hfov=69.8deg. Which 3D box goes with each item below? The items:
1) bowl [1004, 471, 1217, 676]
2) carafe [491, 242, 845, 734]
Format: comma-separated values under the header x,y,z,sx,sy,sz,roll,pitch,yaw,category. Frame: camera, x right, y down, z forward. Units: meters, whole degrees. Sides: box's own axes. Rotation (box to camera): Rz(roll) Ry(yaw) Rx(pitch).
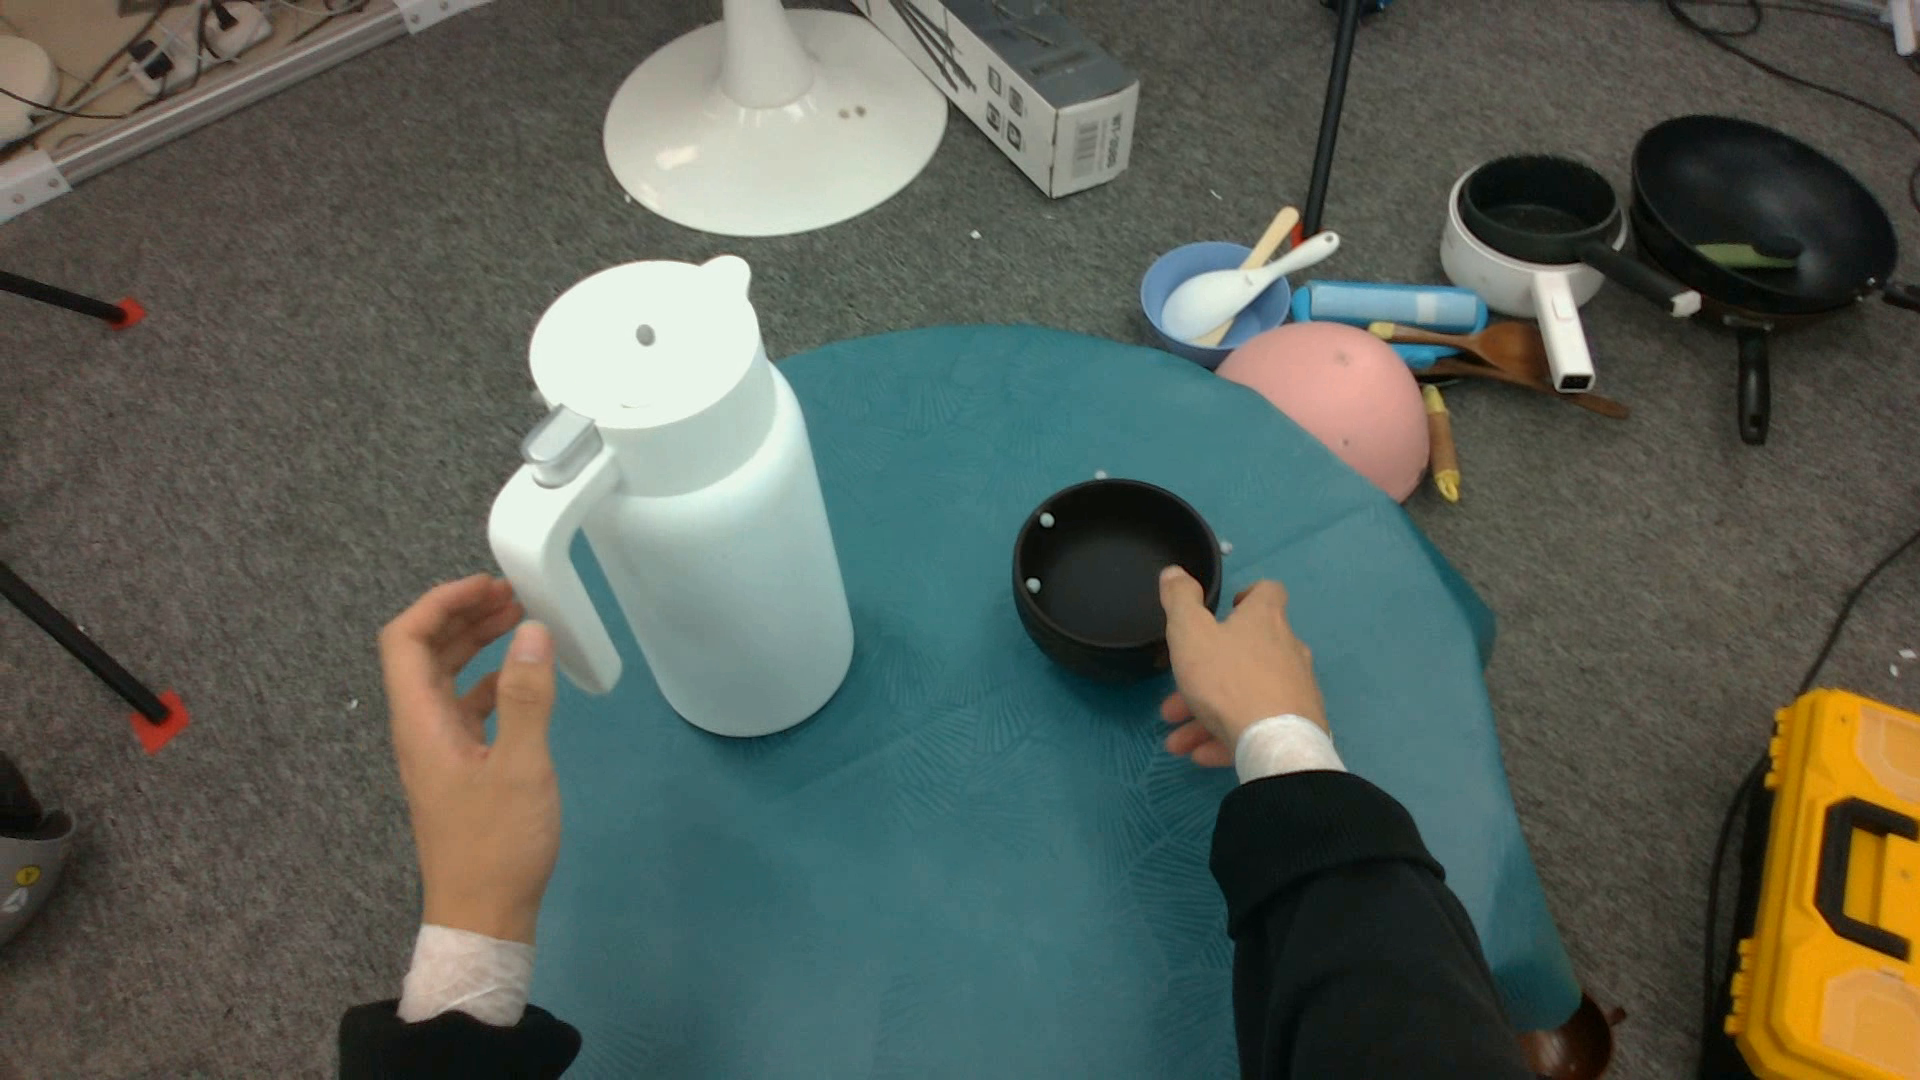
x,y,z,sx,sy,sz,roll,pitch,yaw,category
0.084,0.026,0.783,0.118,0.069,0.118,-1,55,2,bowl
-0.138,0.001,0.695,0.124,0.267,0.173,24,59,17,carafe
